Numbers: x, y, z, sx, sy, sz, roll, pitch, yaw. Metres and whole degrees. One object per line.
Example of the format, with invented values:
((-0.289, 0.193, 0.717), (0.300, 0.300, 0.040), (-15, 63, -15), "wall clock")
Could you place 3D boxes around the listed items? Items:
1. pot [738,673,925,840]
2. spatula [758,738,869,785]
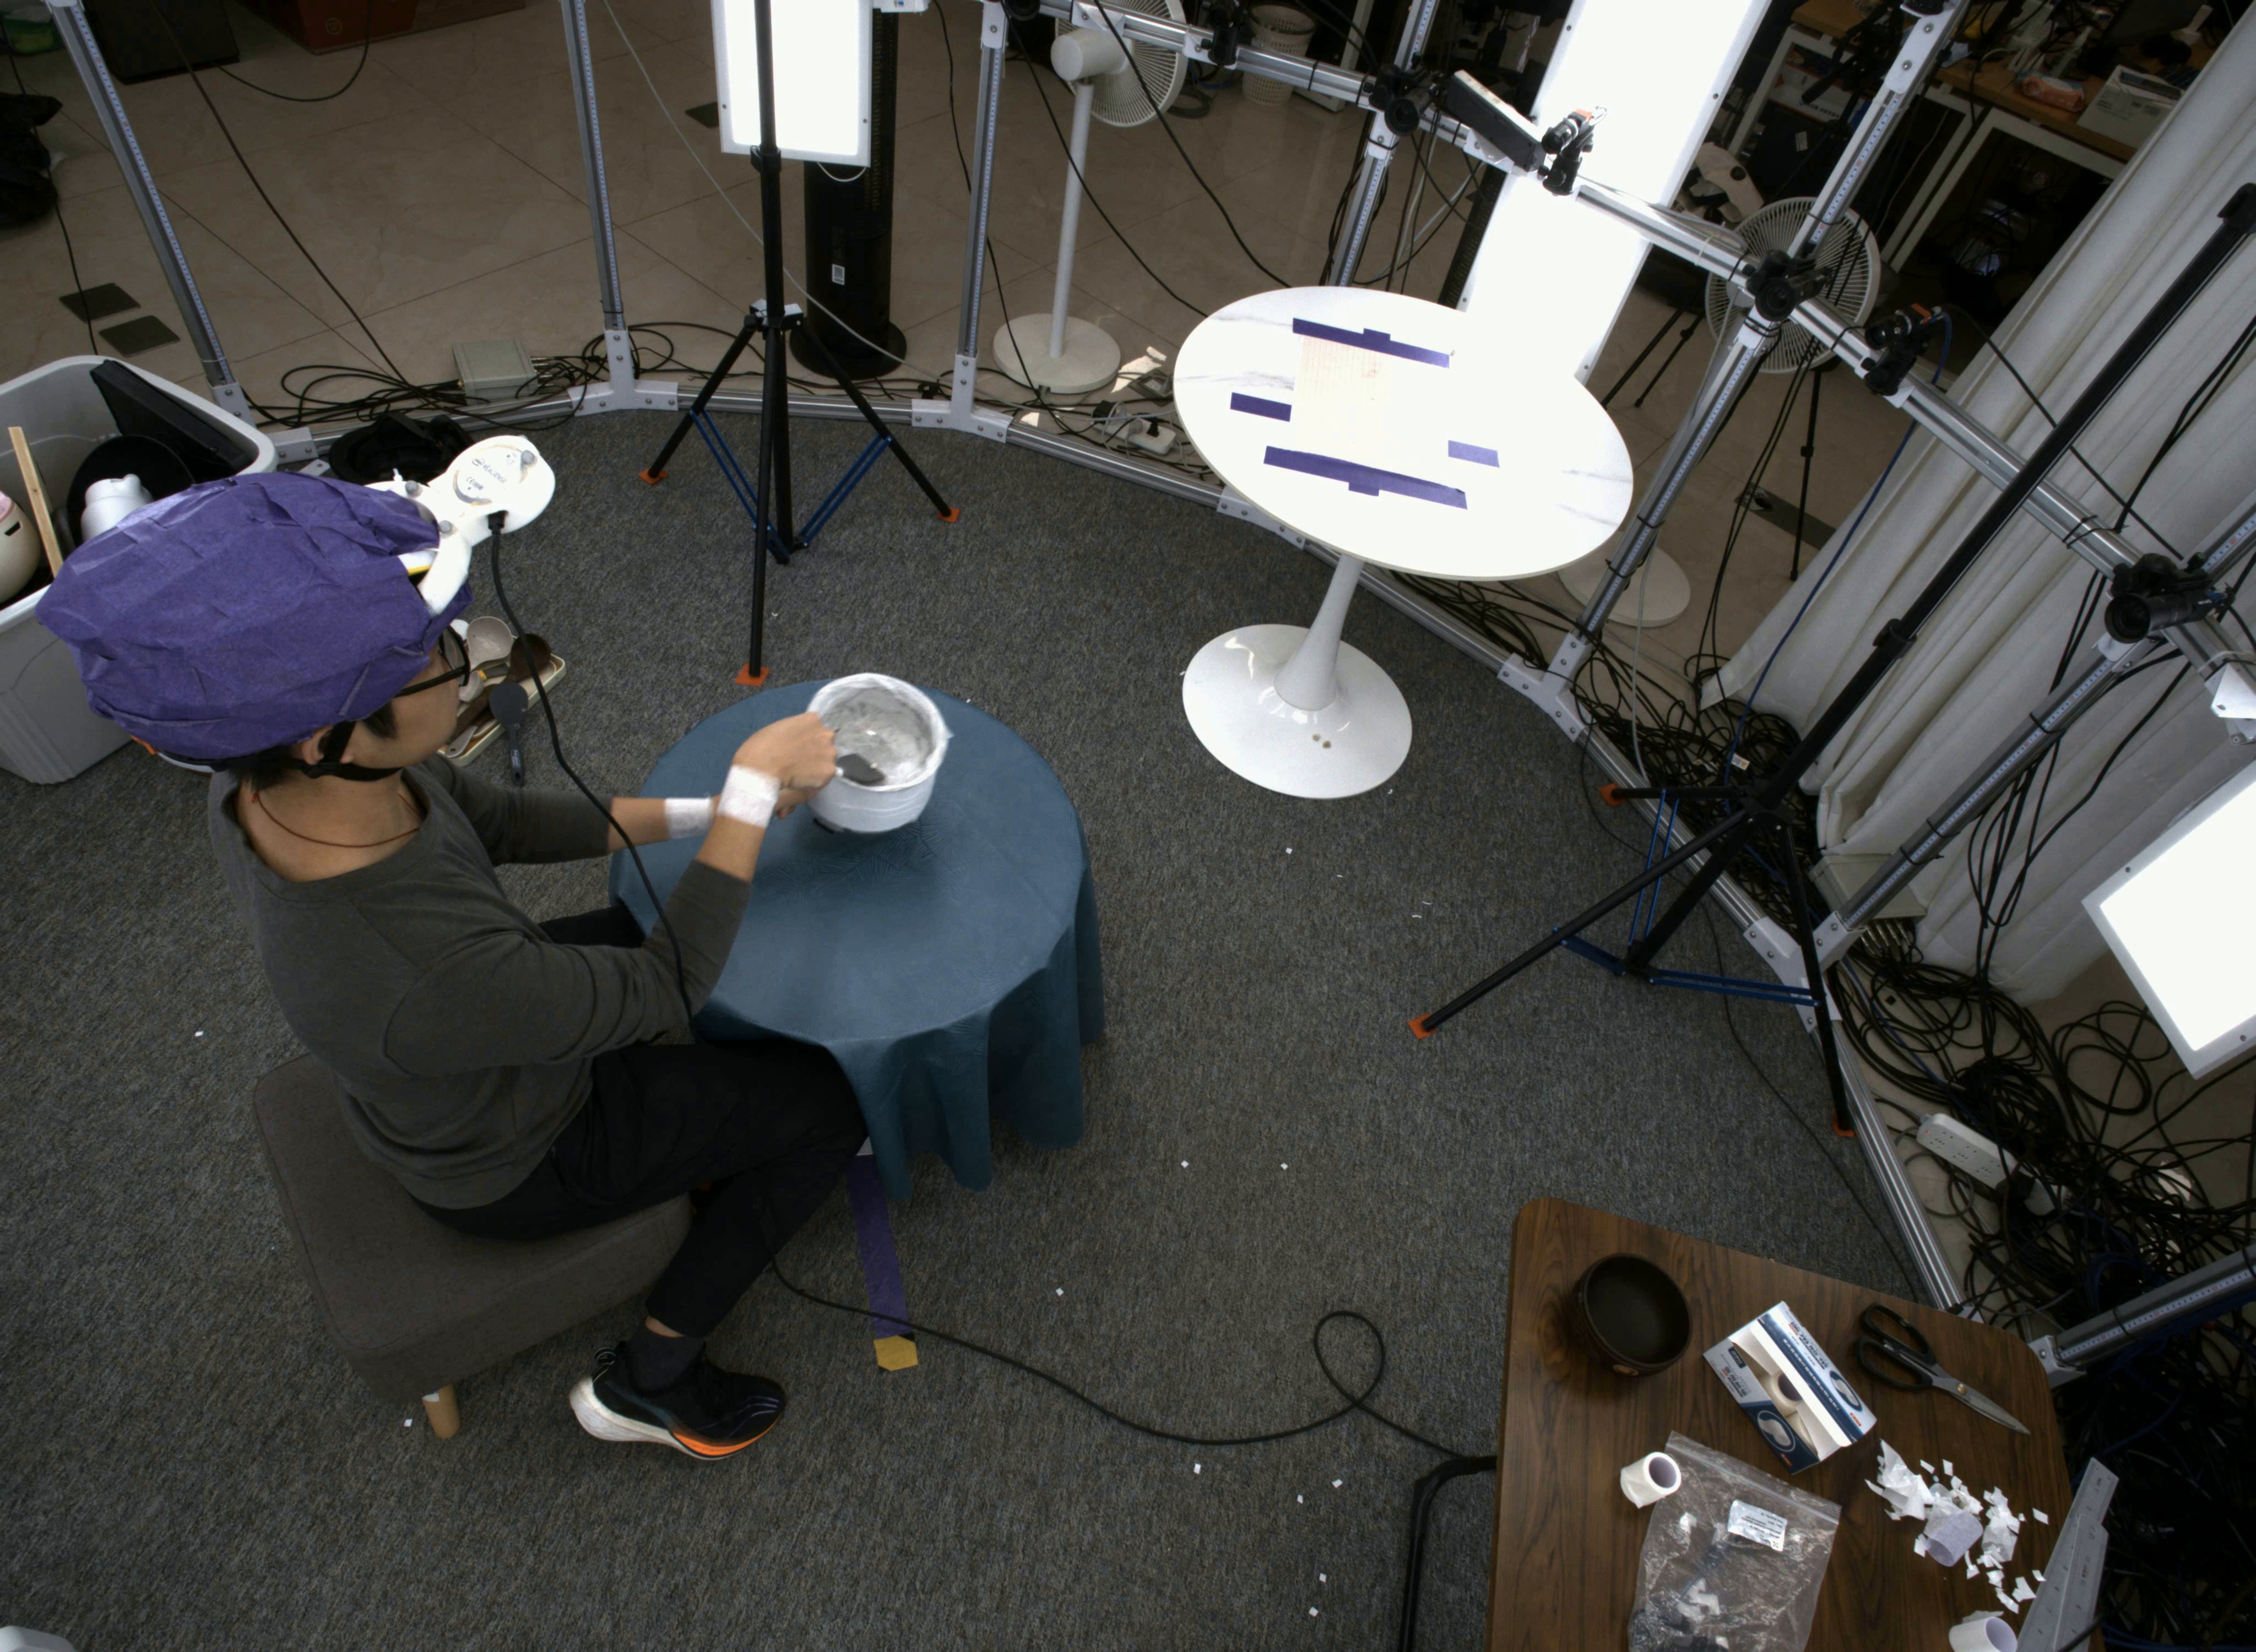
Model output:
((-0.379, -0.074, 1.641), (0.235, 0.138, 0.176), (-25, 70, -32), "pot")
((-0.373, -0.074, 1.535), (0.058, 0.289, 0.032), (33, 91, 5), "spatula")
